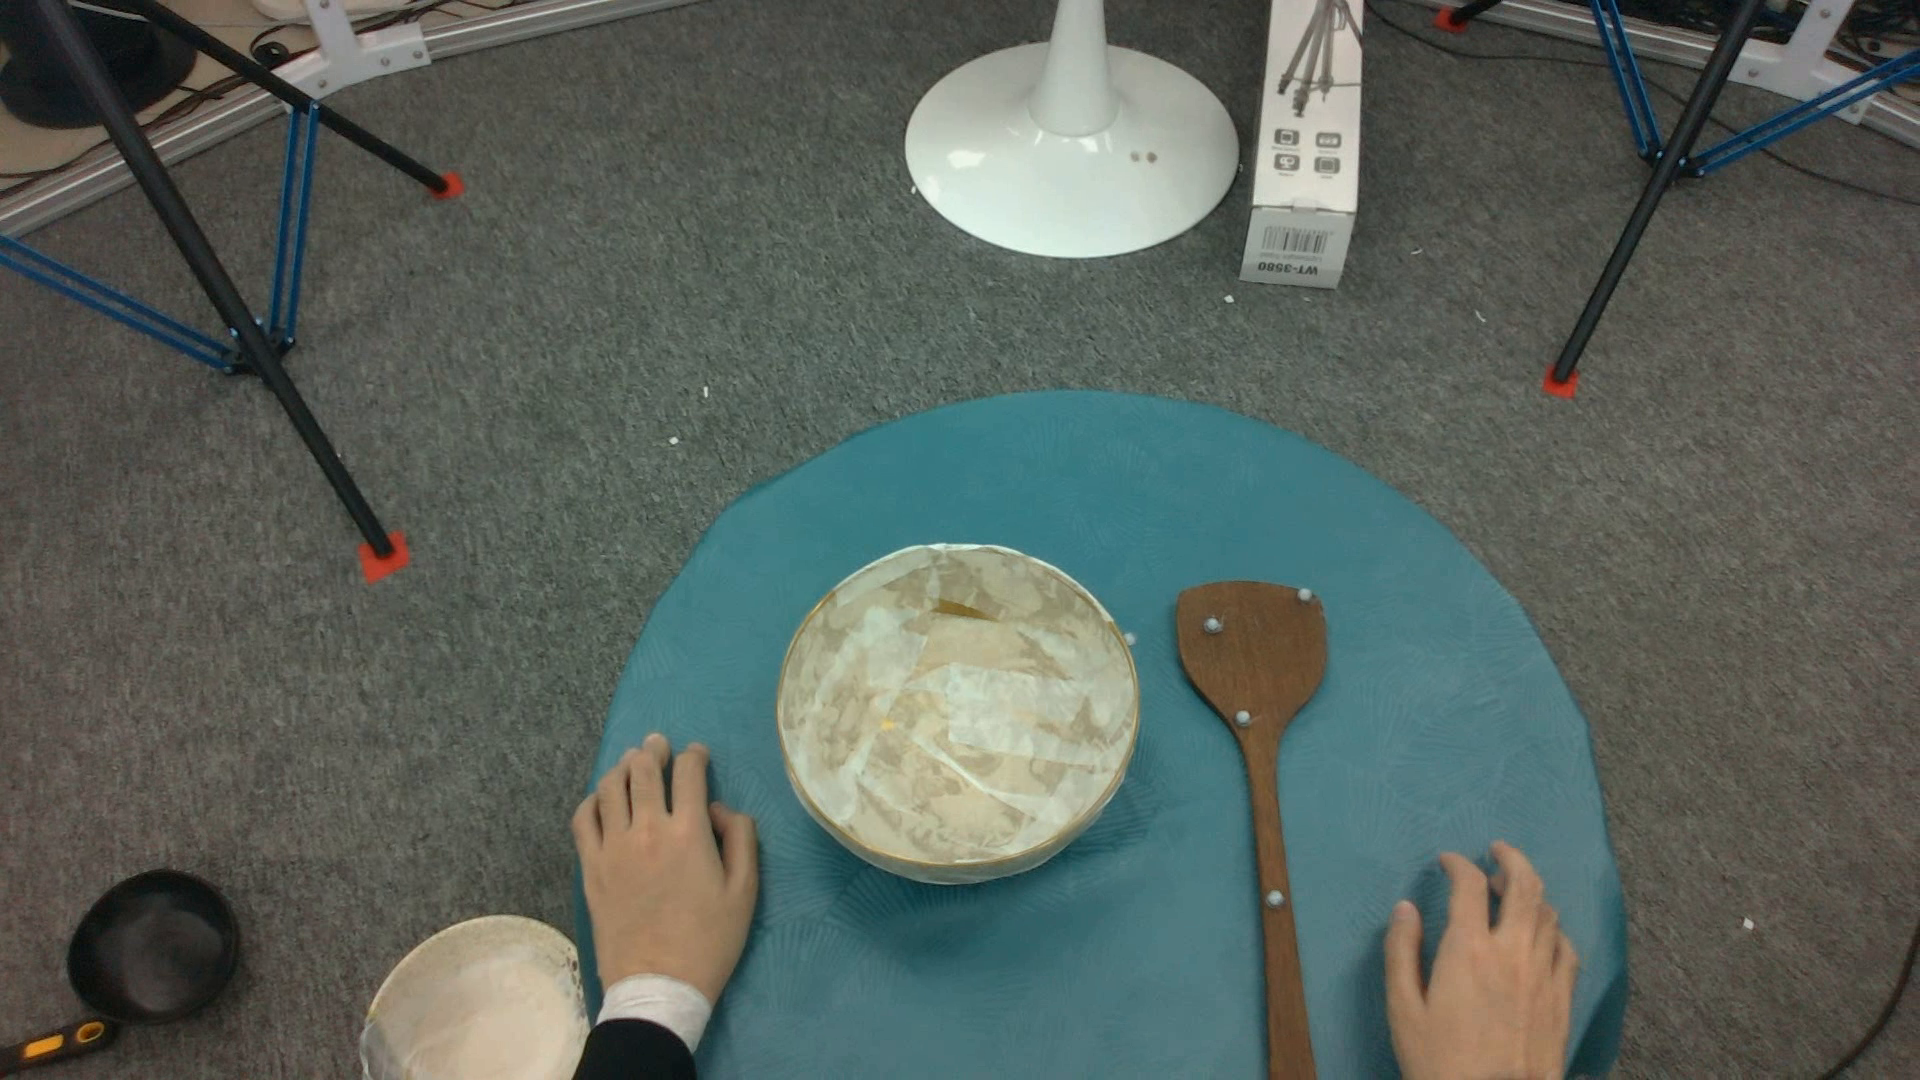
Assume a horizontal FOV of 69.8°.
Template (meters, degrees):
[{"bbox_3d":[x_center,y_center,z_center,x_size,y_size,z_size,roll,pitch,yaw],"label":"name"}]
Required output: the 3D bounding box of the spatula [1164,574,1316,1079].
[{"bbox_3d":[0.170,0.180,0.778,0.096,0.016,0.387,2,54,1],"label":"spatula"}]

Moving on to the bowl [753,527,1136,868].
[{"bbox_3d":[-0.011,0.102,0.782,0.215,0.094,0.215,1,55,-2],"label":"bowl"}]
